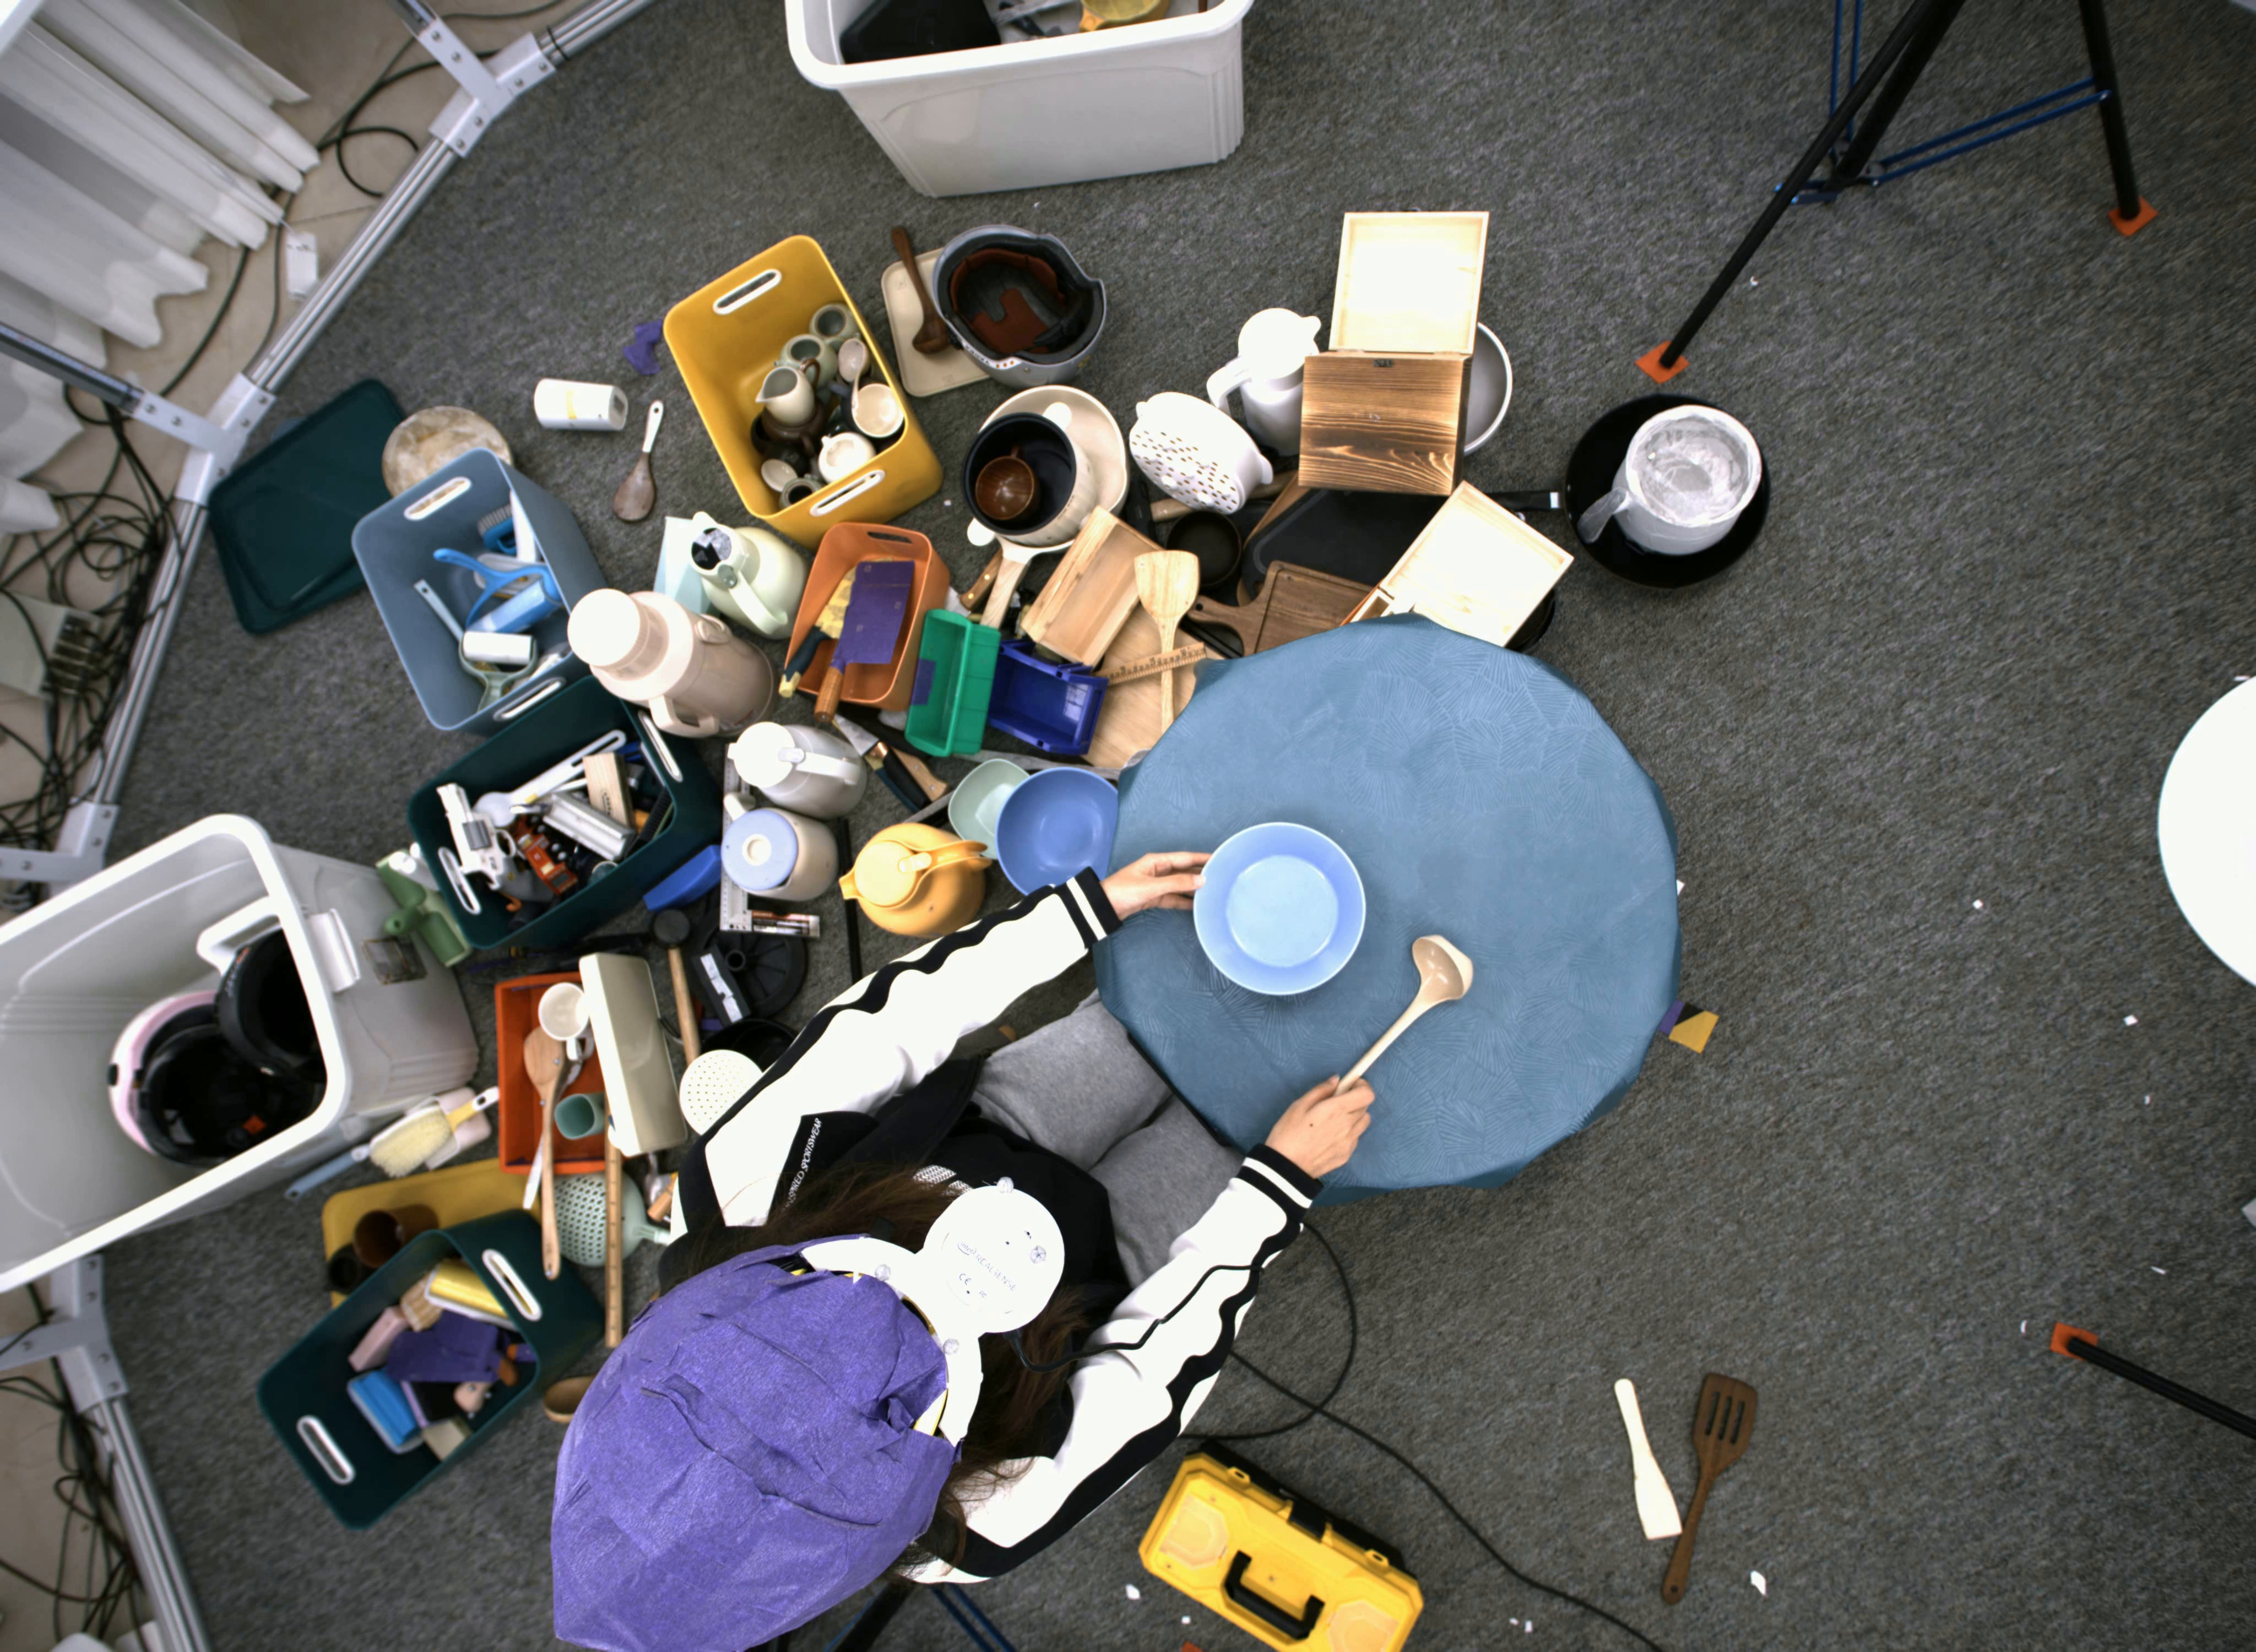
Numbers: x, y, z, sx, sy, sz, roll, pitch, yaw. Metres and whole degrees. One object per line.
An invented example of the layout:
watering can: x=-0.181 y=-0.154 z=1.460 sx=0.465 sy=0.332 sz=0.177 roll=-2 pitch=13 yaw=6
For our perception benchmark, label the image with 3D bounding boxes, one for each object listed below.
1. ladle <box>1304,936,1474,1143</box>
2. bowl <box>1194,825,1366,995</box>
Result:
ladle: x=0.255 y=0.219 z=1.414 sx=0.071 sy=0.073 sz=0.255 roll=41 pitch=92 yaw=30
bowl: x=0.160 y=0.088 z=1.444 sx=0.177 sy=0.070 sz=0.175 roll=-1 pitch=85 yaw=11
